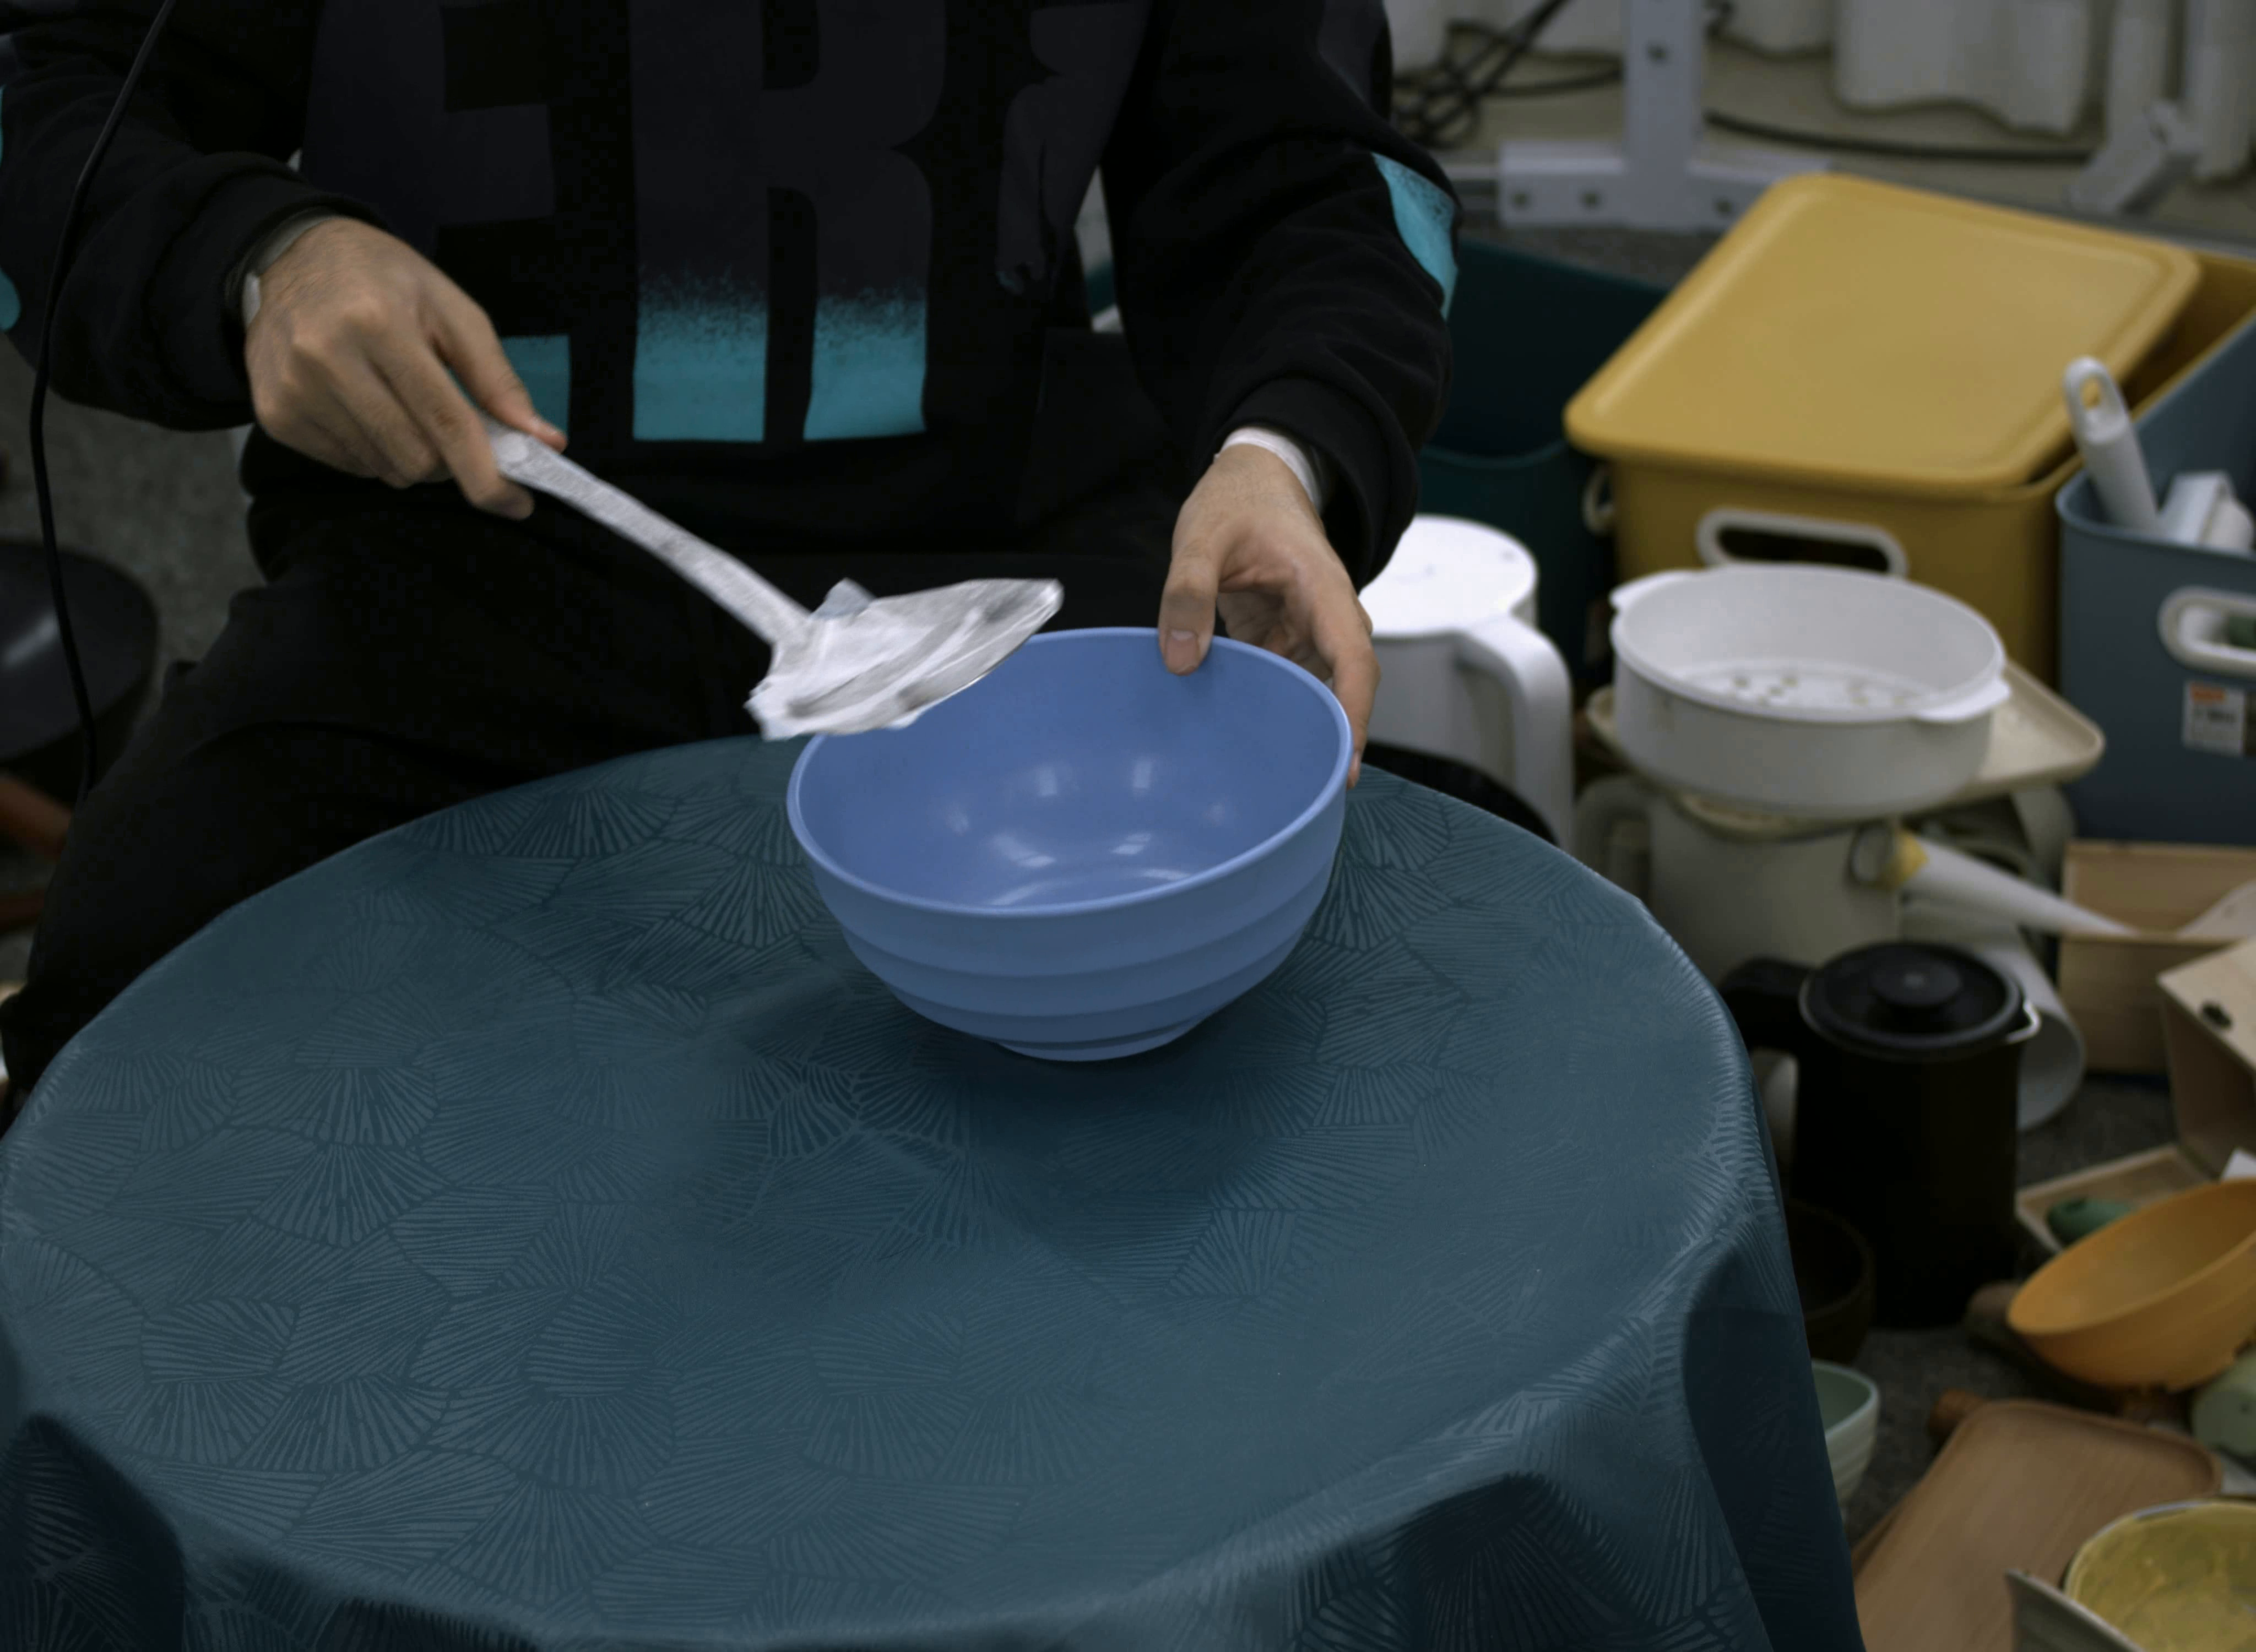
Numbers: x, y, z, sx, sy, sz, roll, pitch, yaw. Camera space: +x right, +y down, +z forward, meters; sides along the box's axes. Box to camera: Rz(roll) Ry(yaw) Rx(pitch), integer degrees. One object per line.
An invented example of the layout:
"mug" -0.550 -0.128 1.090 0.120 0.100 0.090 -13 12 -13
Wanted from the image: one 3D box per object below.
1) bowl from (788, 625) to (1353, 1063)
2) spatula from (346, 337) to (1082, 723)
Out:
"bowl" -0.015 0.018 1.951 0.195 0.094 0.200 -5 30 3
"spatula" -0.163 -0.113 1.942 0.365 0.044 0.100 30 54 36
